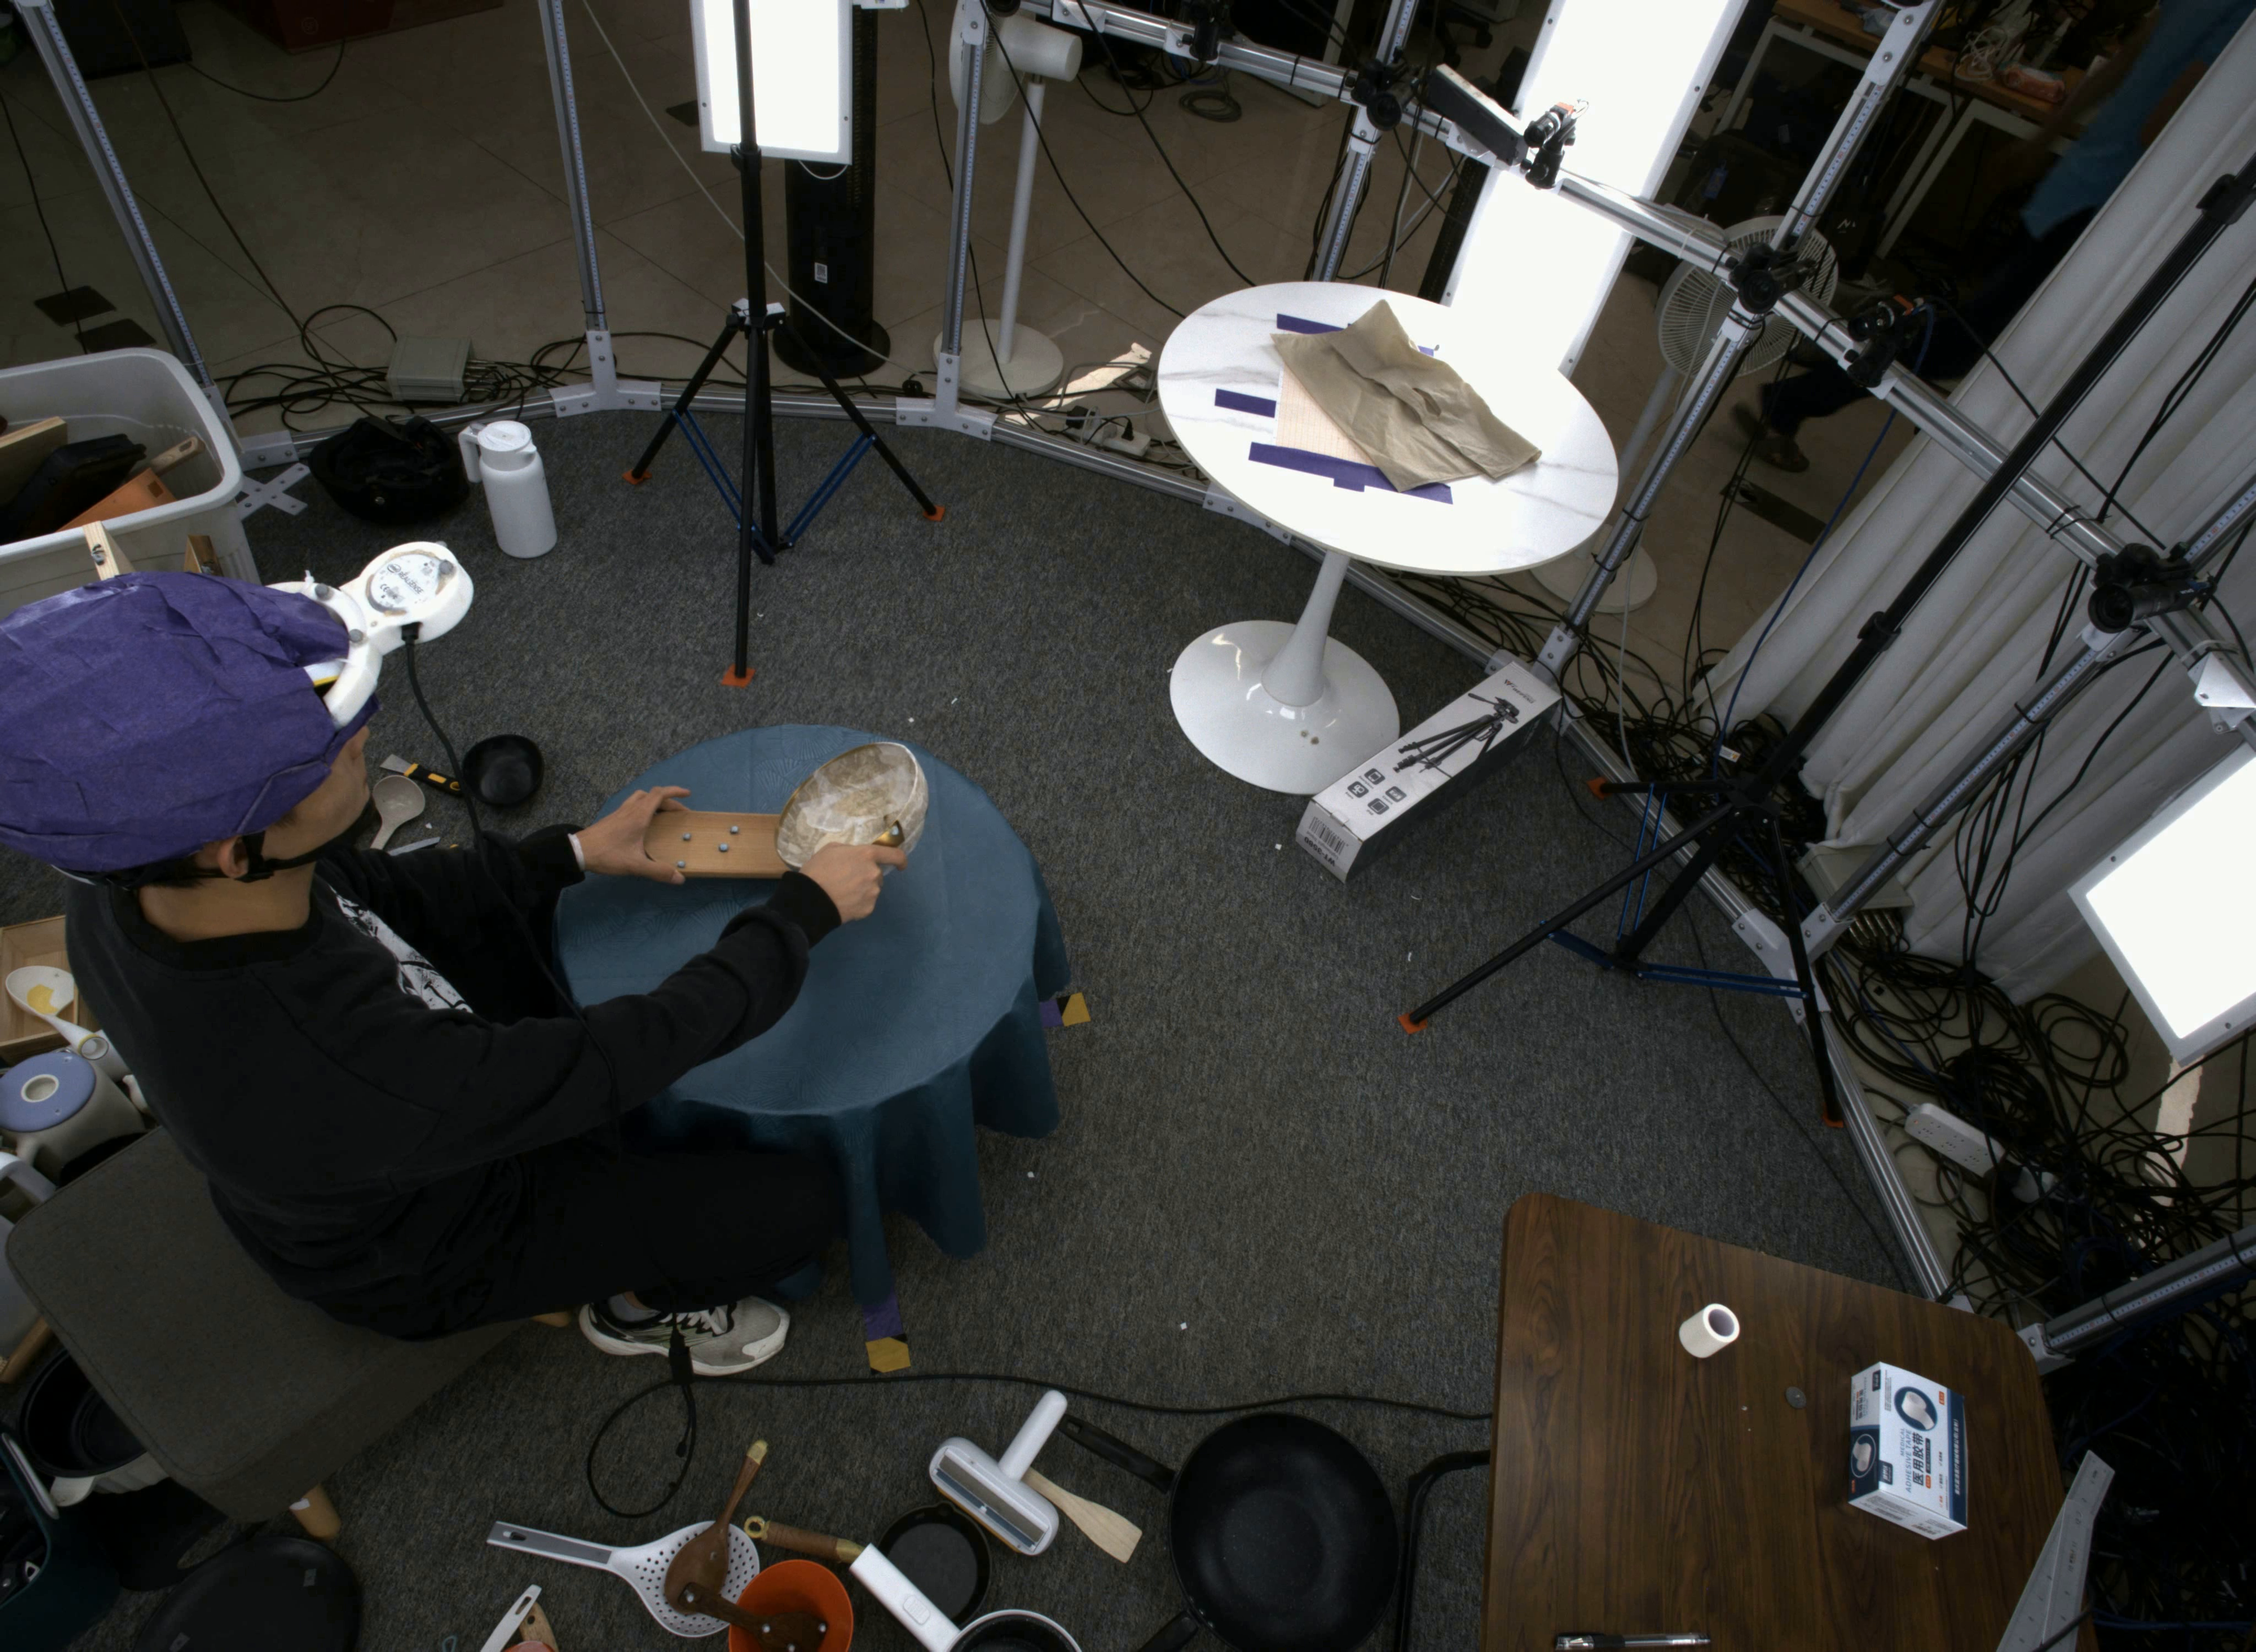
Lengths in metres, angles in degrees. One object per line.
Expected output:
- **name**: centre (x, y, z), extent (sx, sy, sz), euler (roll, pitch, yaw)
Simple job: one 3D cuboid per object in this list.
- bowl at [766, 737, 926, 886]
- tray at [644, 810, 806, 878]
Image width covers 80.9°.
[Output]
- **bowl**: centre (-0.329, -0.002, 1.593), extent (0.210, 0.098, 0.210), euler (-15, 46, 18)
- **tray**: centre (-0.499, 0.022, 1.645), extent (0.235, 0.020, 0.099), euler (2, 51, -35)
